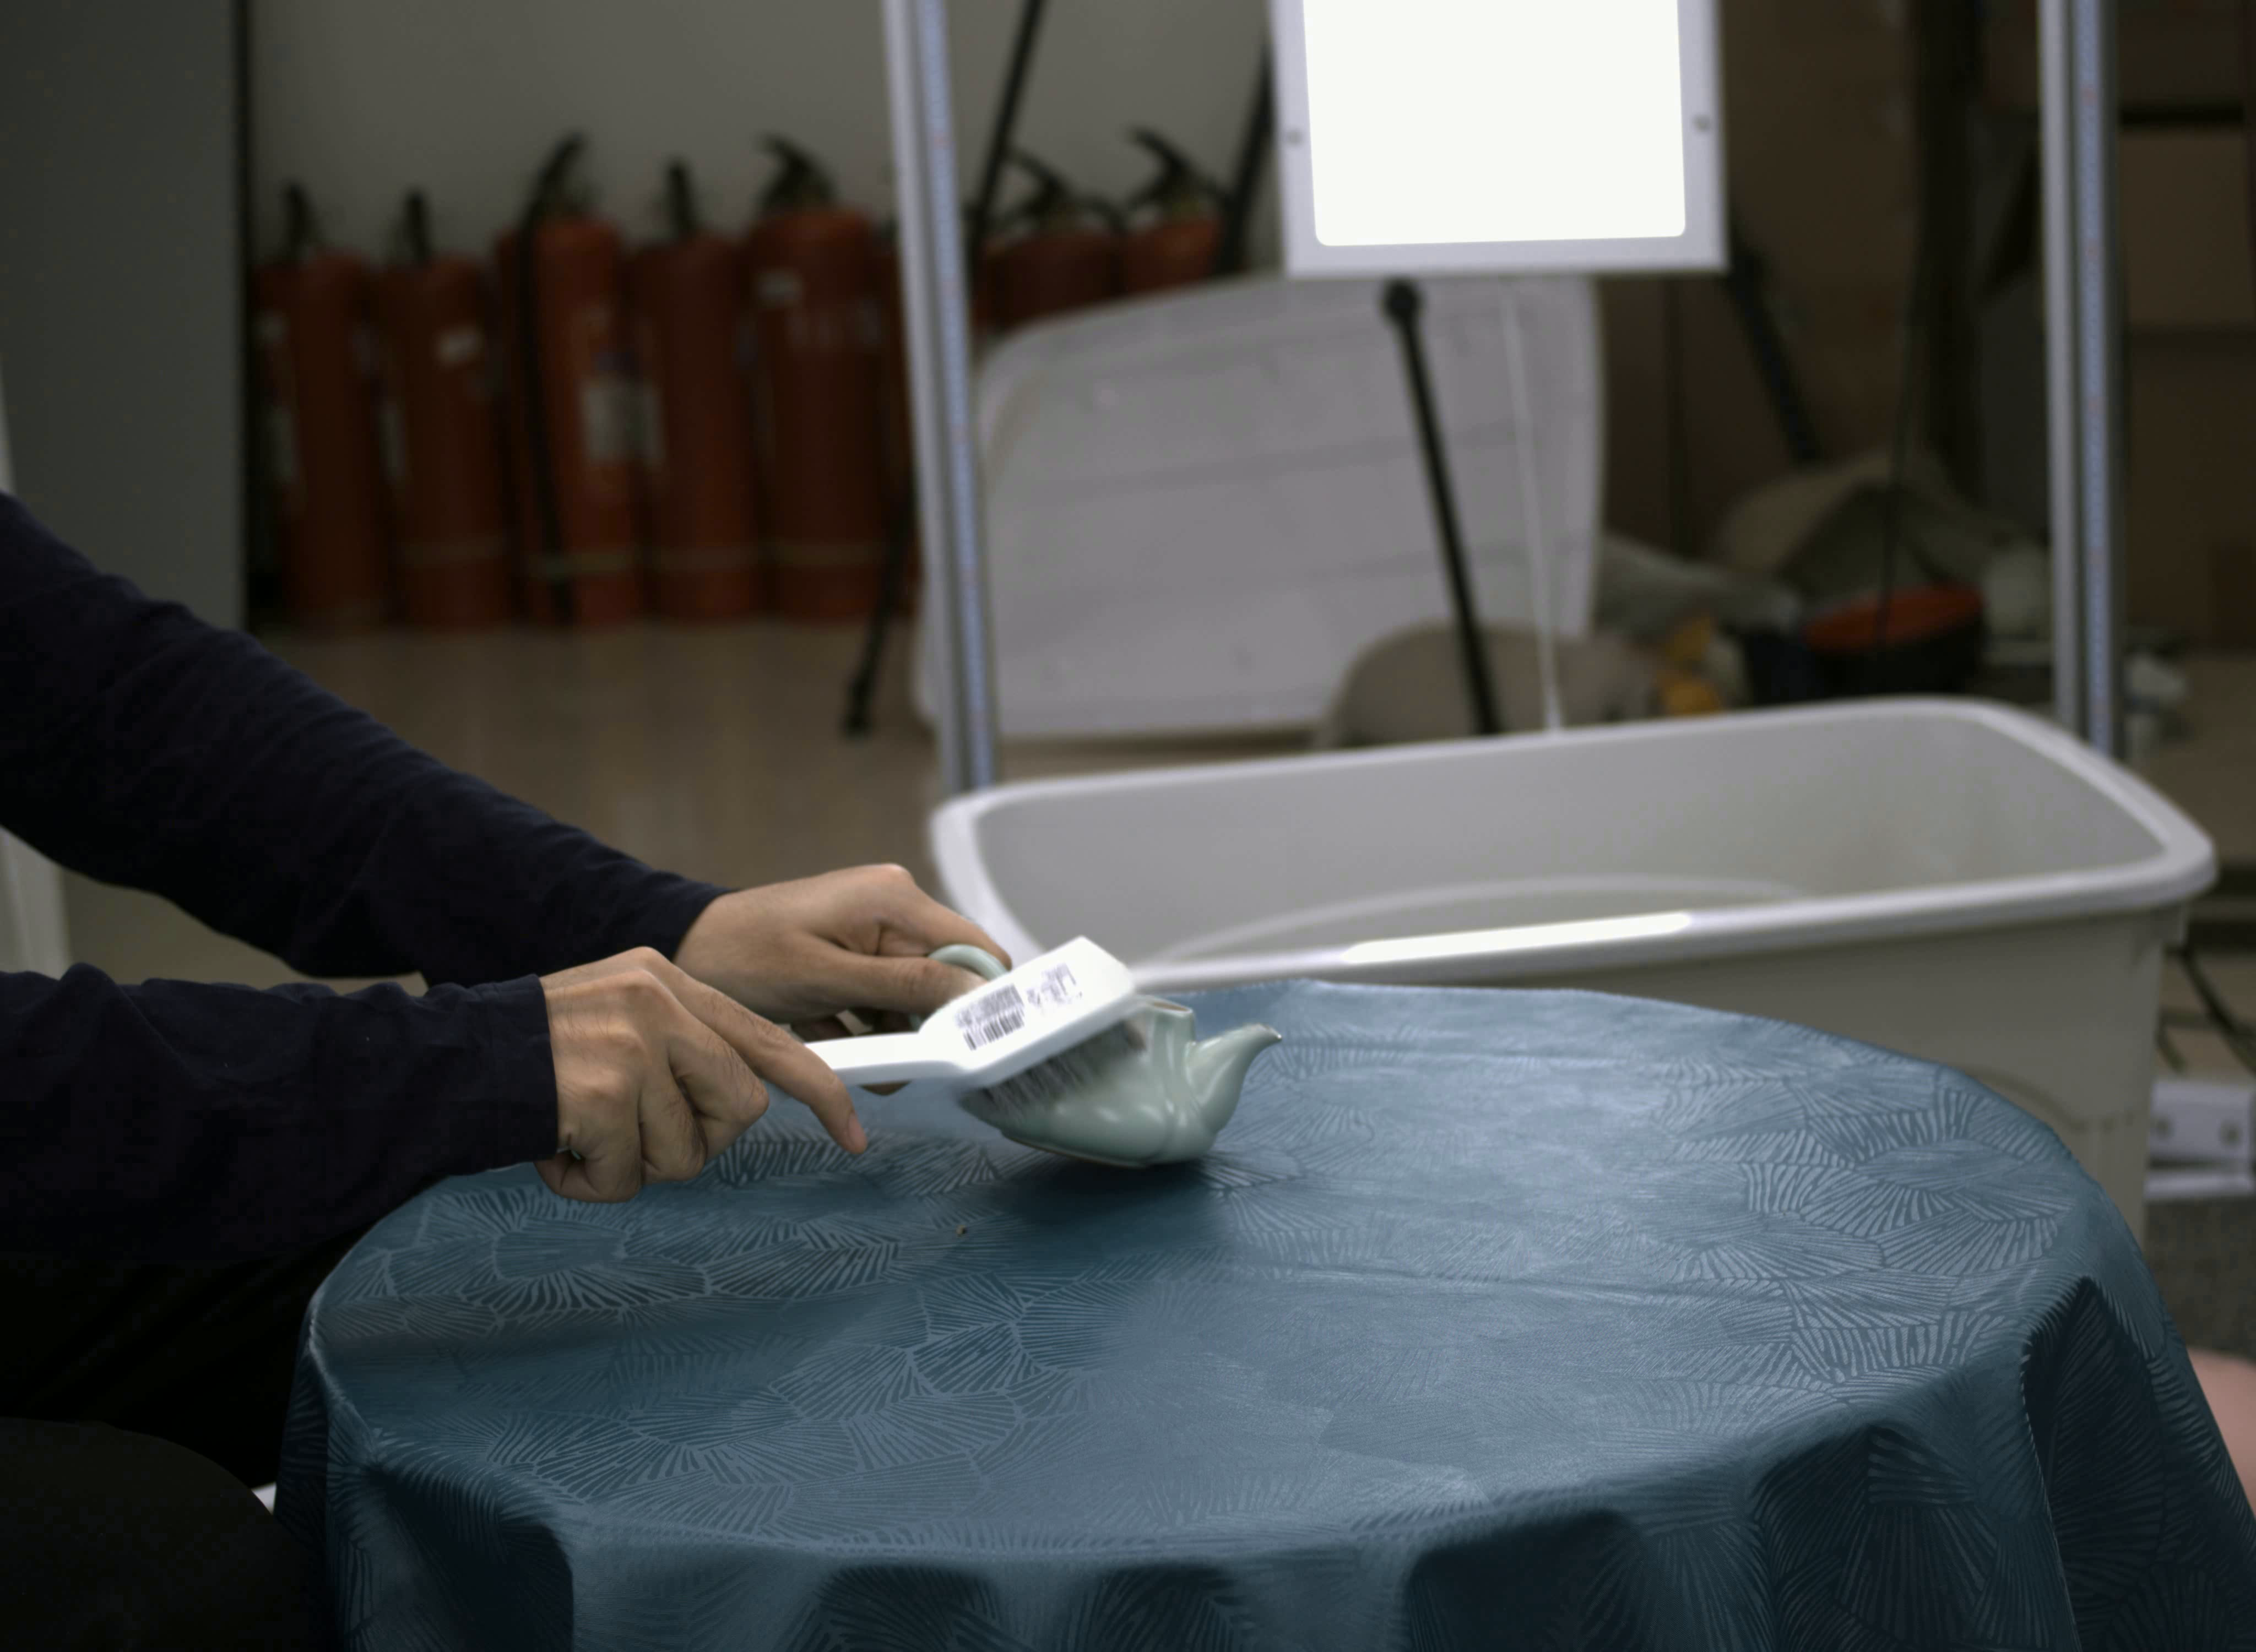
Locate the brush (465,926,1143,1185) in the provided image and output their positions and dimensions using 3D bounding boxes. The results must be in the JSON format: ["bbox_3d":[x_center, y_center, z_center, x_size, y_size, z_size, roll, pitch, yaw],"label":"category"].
[{"bbox_3d":[-0.107,0.089,1.838,0.239,0.050,0.035,-17,52,-19],"label":"brush"}]

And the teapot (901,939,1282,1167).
[{"bbox_3d":[-0.017,0.082,1.922,0.138,0.061,0.095,15,5,16],"label":"teapot"}]
